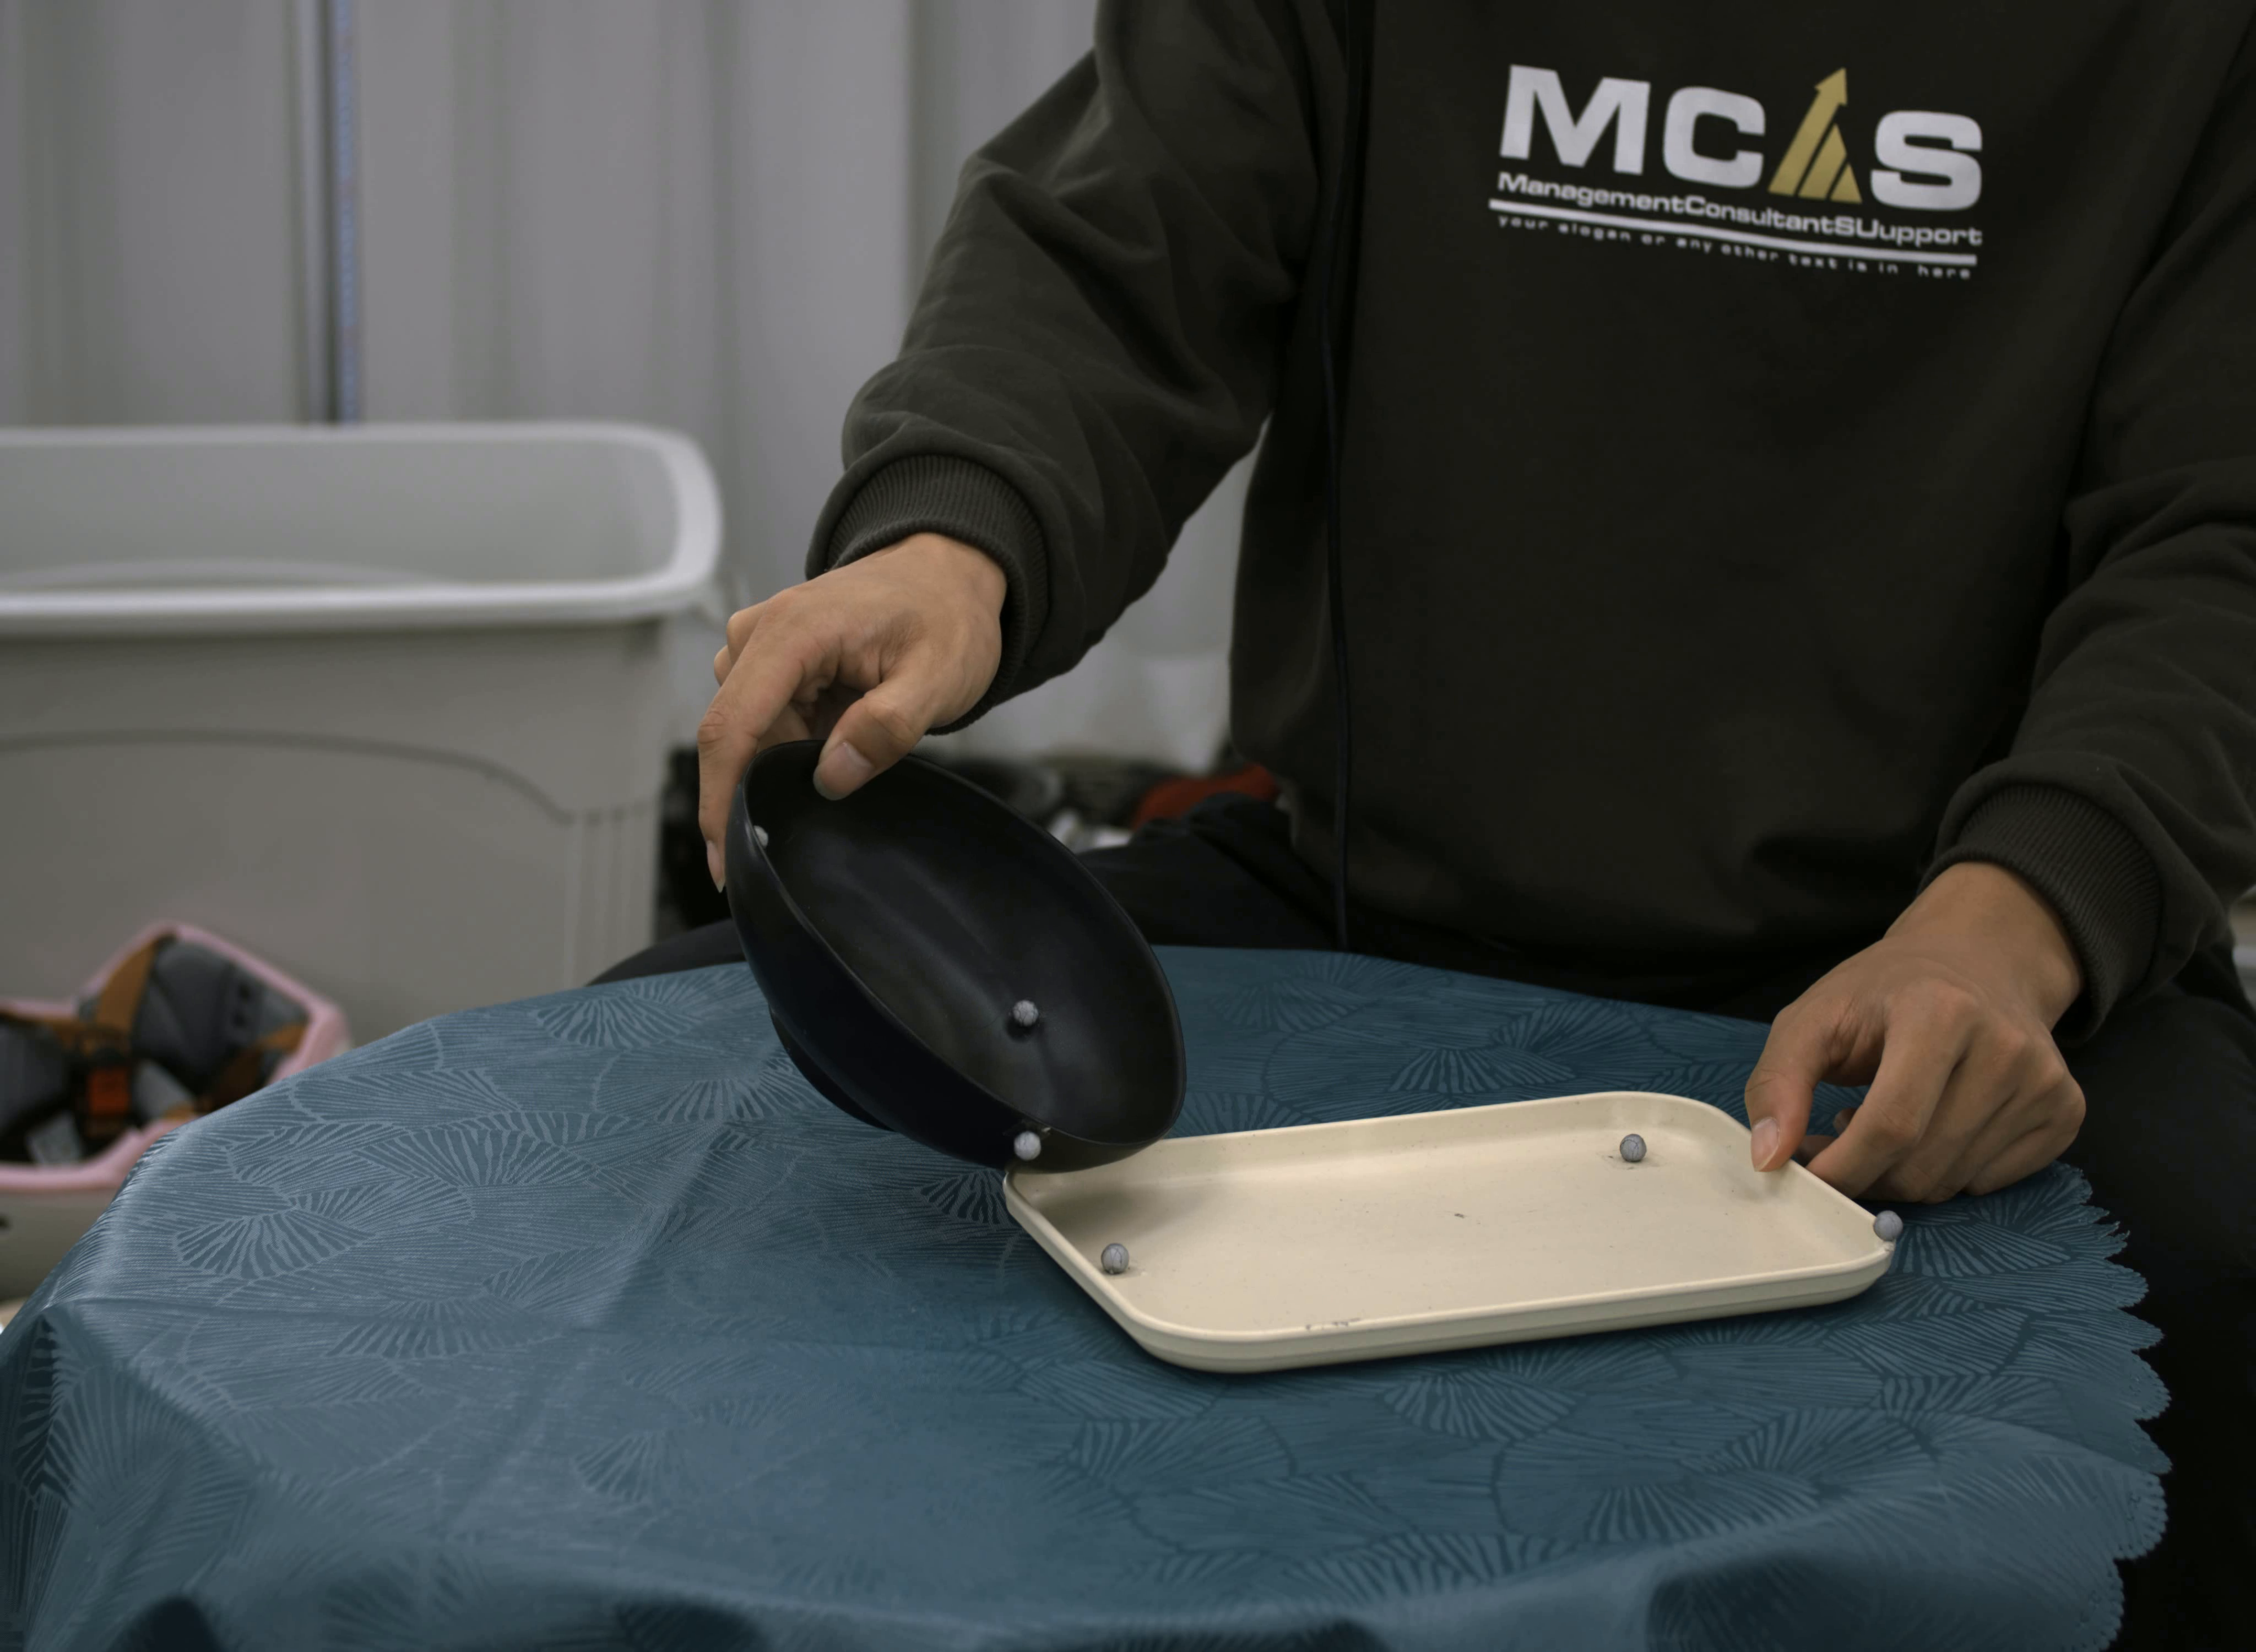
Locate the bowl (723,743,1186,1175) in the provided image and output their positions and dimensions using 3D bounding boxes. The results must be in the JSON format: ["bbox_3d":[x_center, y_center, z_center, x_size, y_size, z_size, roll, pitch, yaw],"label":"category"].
[{"bbox_3d":[-0.064,0.050,1.605,0.170,0.067,0.137,43,30,2],"label":"bowl"}]

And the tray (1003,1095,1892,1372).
[{"bbox_3d":[0.094,0.121,1.573,0.240,0.017,0.169,-5,16,-20],"label":"tray"}]
